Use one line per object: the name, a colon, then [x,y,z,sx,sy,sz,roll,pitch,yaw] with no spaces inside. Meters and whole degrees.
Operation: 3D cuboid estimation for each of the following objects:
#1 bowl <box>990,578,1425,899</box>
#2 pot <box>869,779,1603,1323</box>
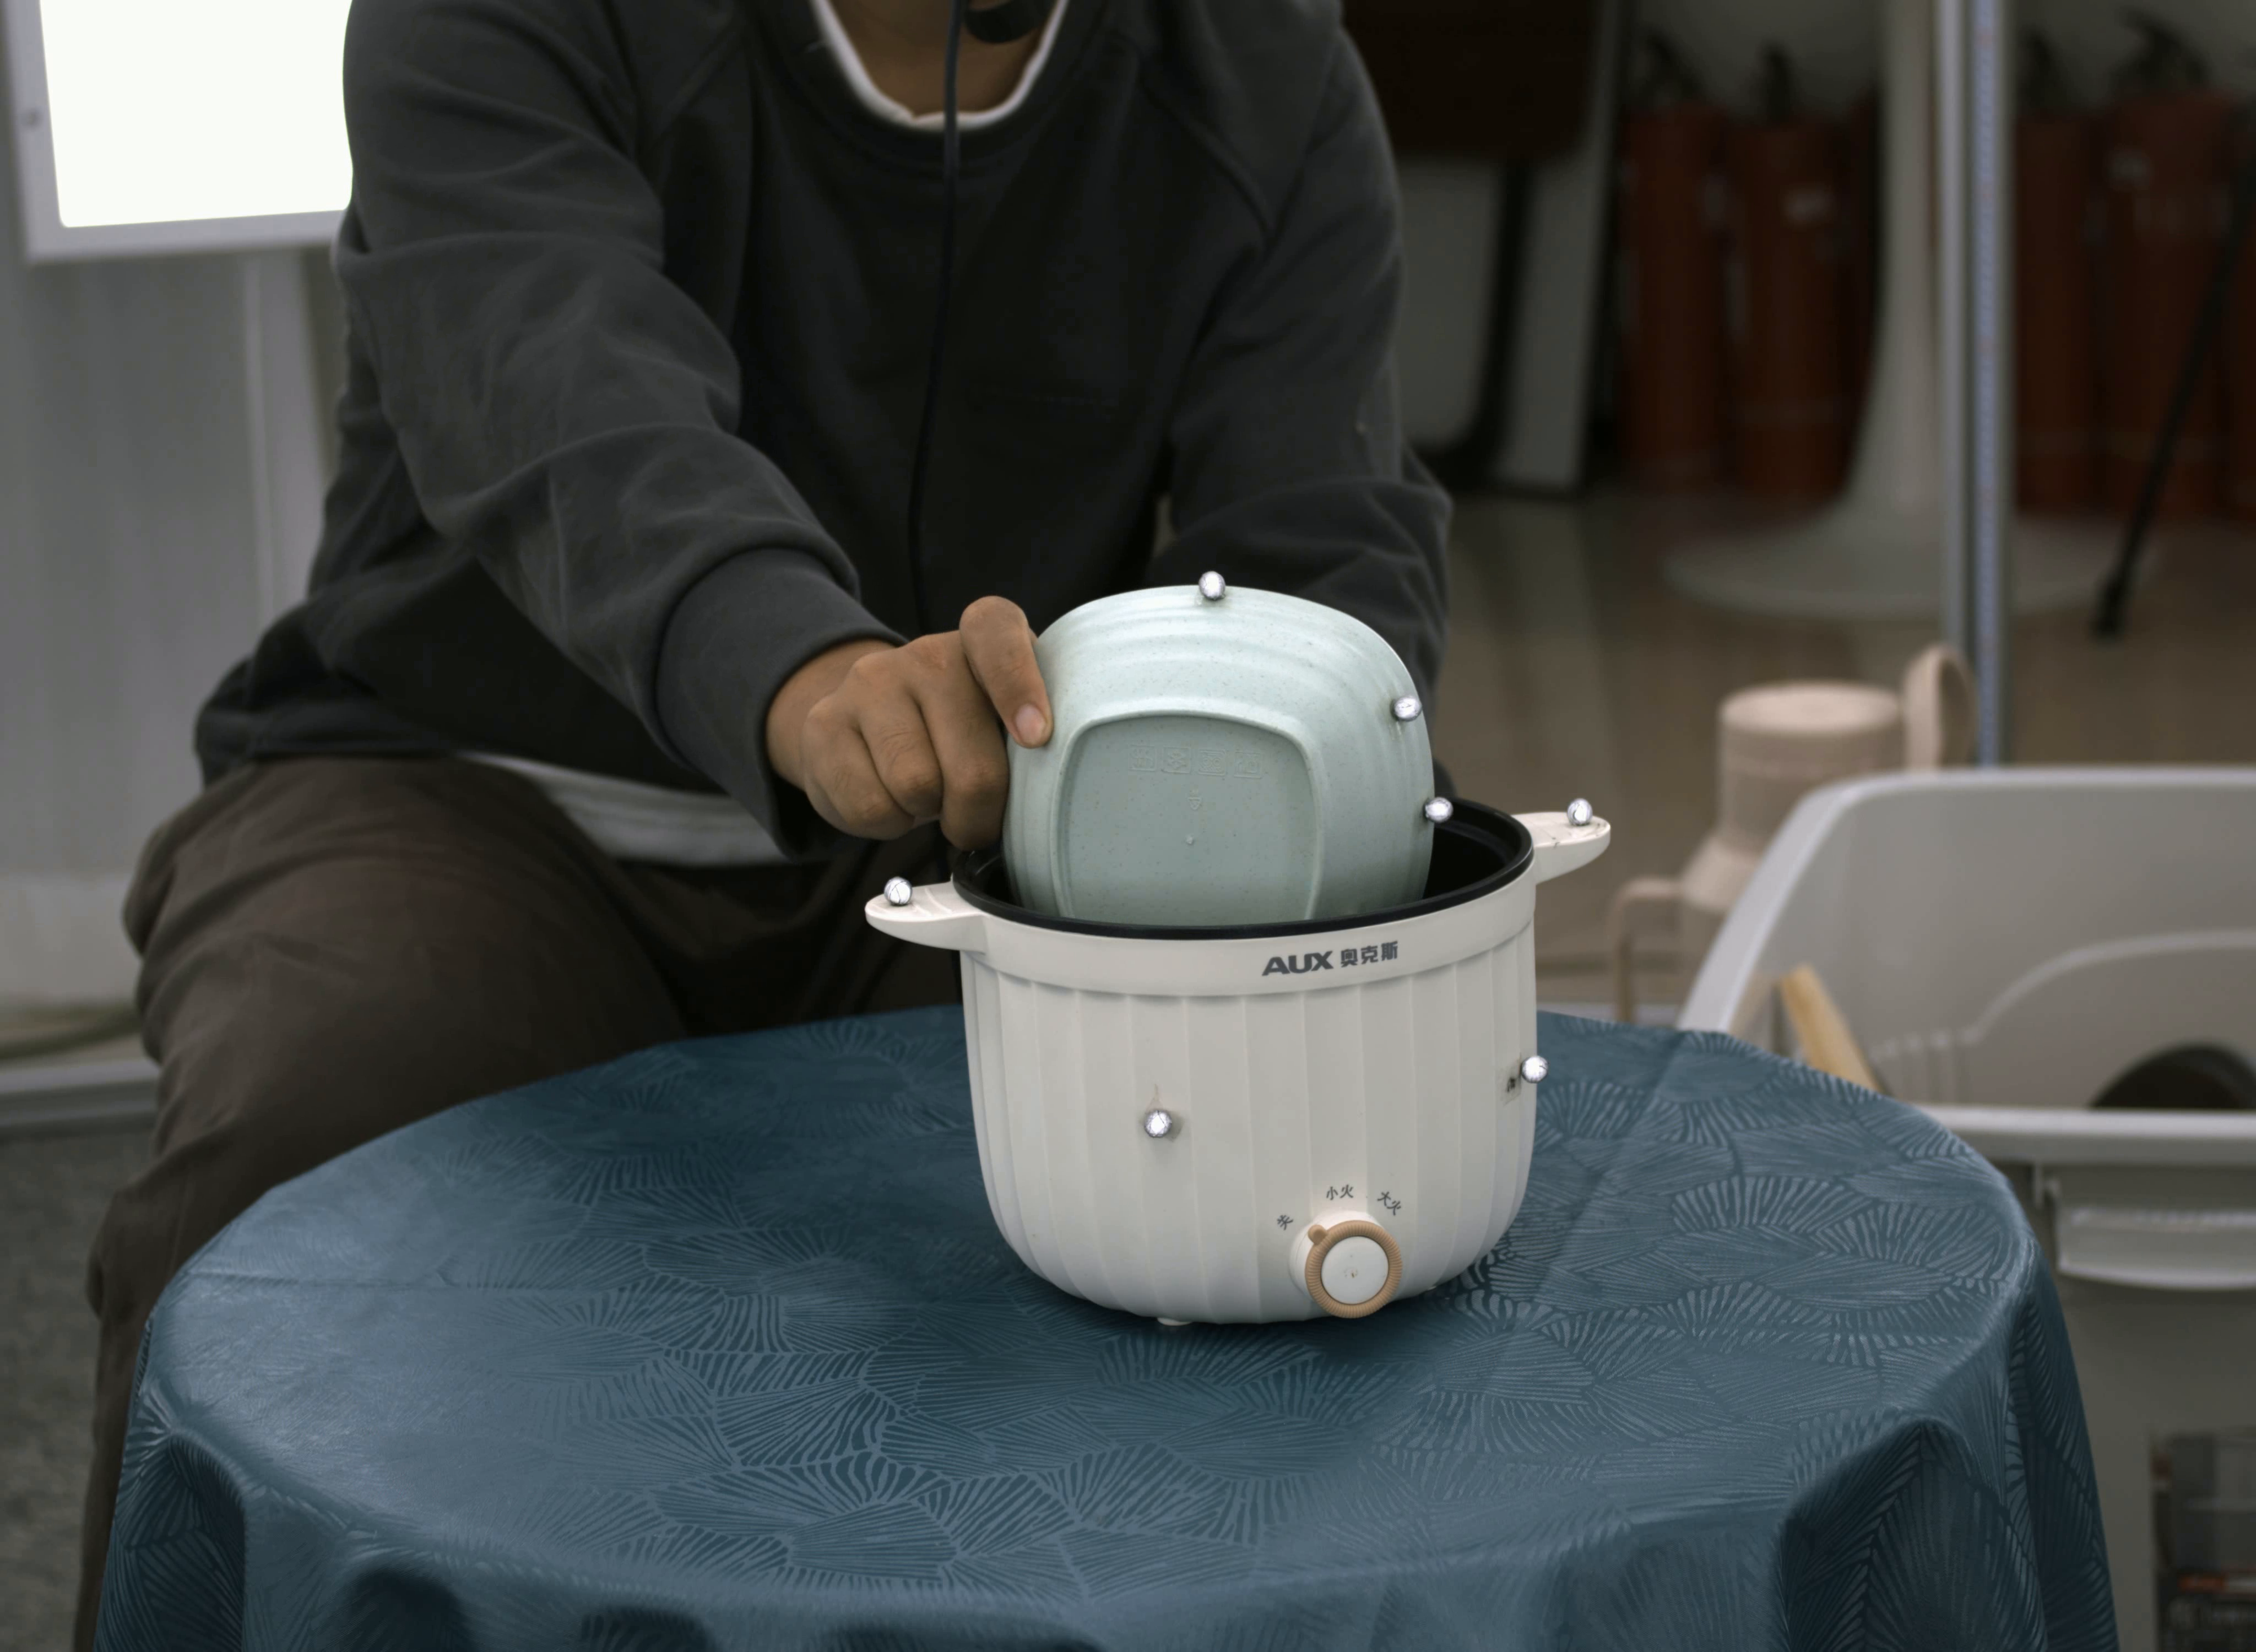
bowl: [0.019,-0.002,1.647,0.150,0.153,0.058,0,12,13]
pot: [0.042,0.070,1.672,0.236,0.144,0.192,-9,11,-14]
